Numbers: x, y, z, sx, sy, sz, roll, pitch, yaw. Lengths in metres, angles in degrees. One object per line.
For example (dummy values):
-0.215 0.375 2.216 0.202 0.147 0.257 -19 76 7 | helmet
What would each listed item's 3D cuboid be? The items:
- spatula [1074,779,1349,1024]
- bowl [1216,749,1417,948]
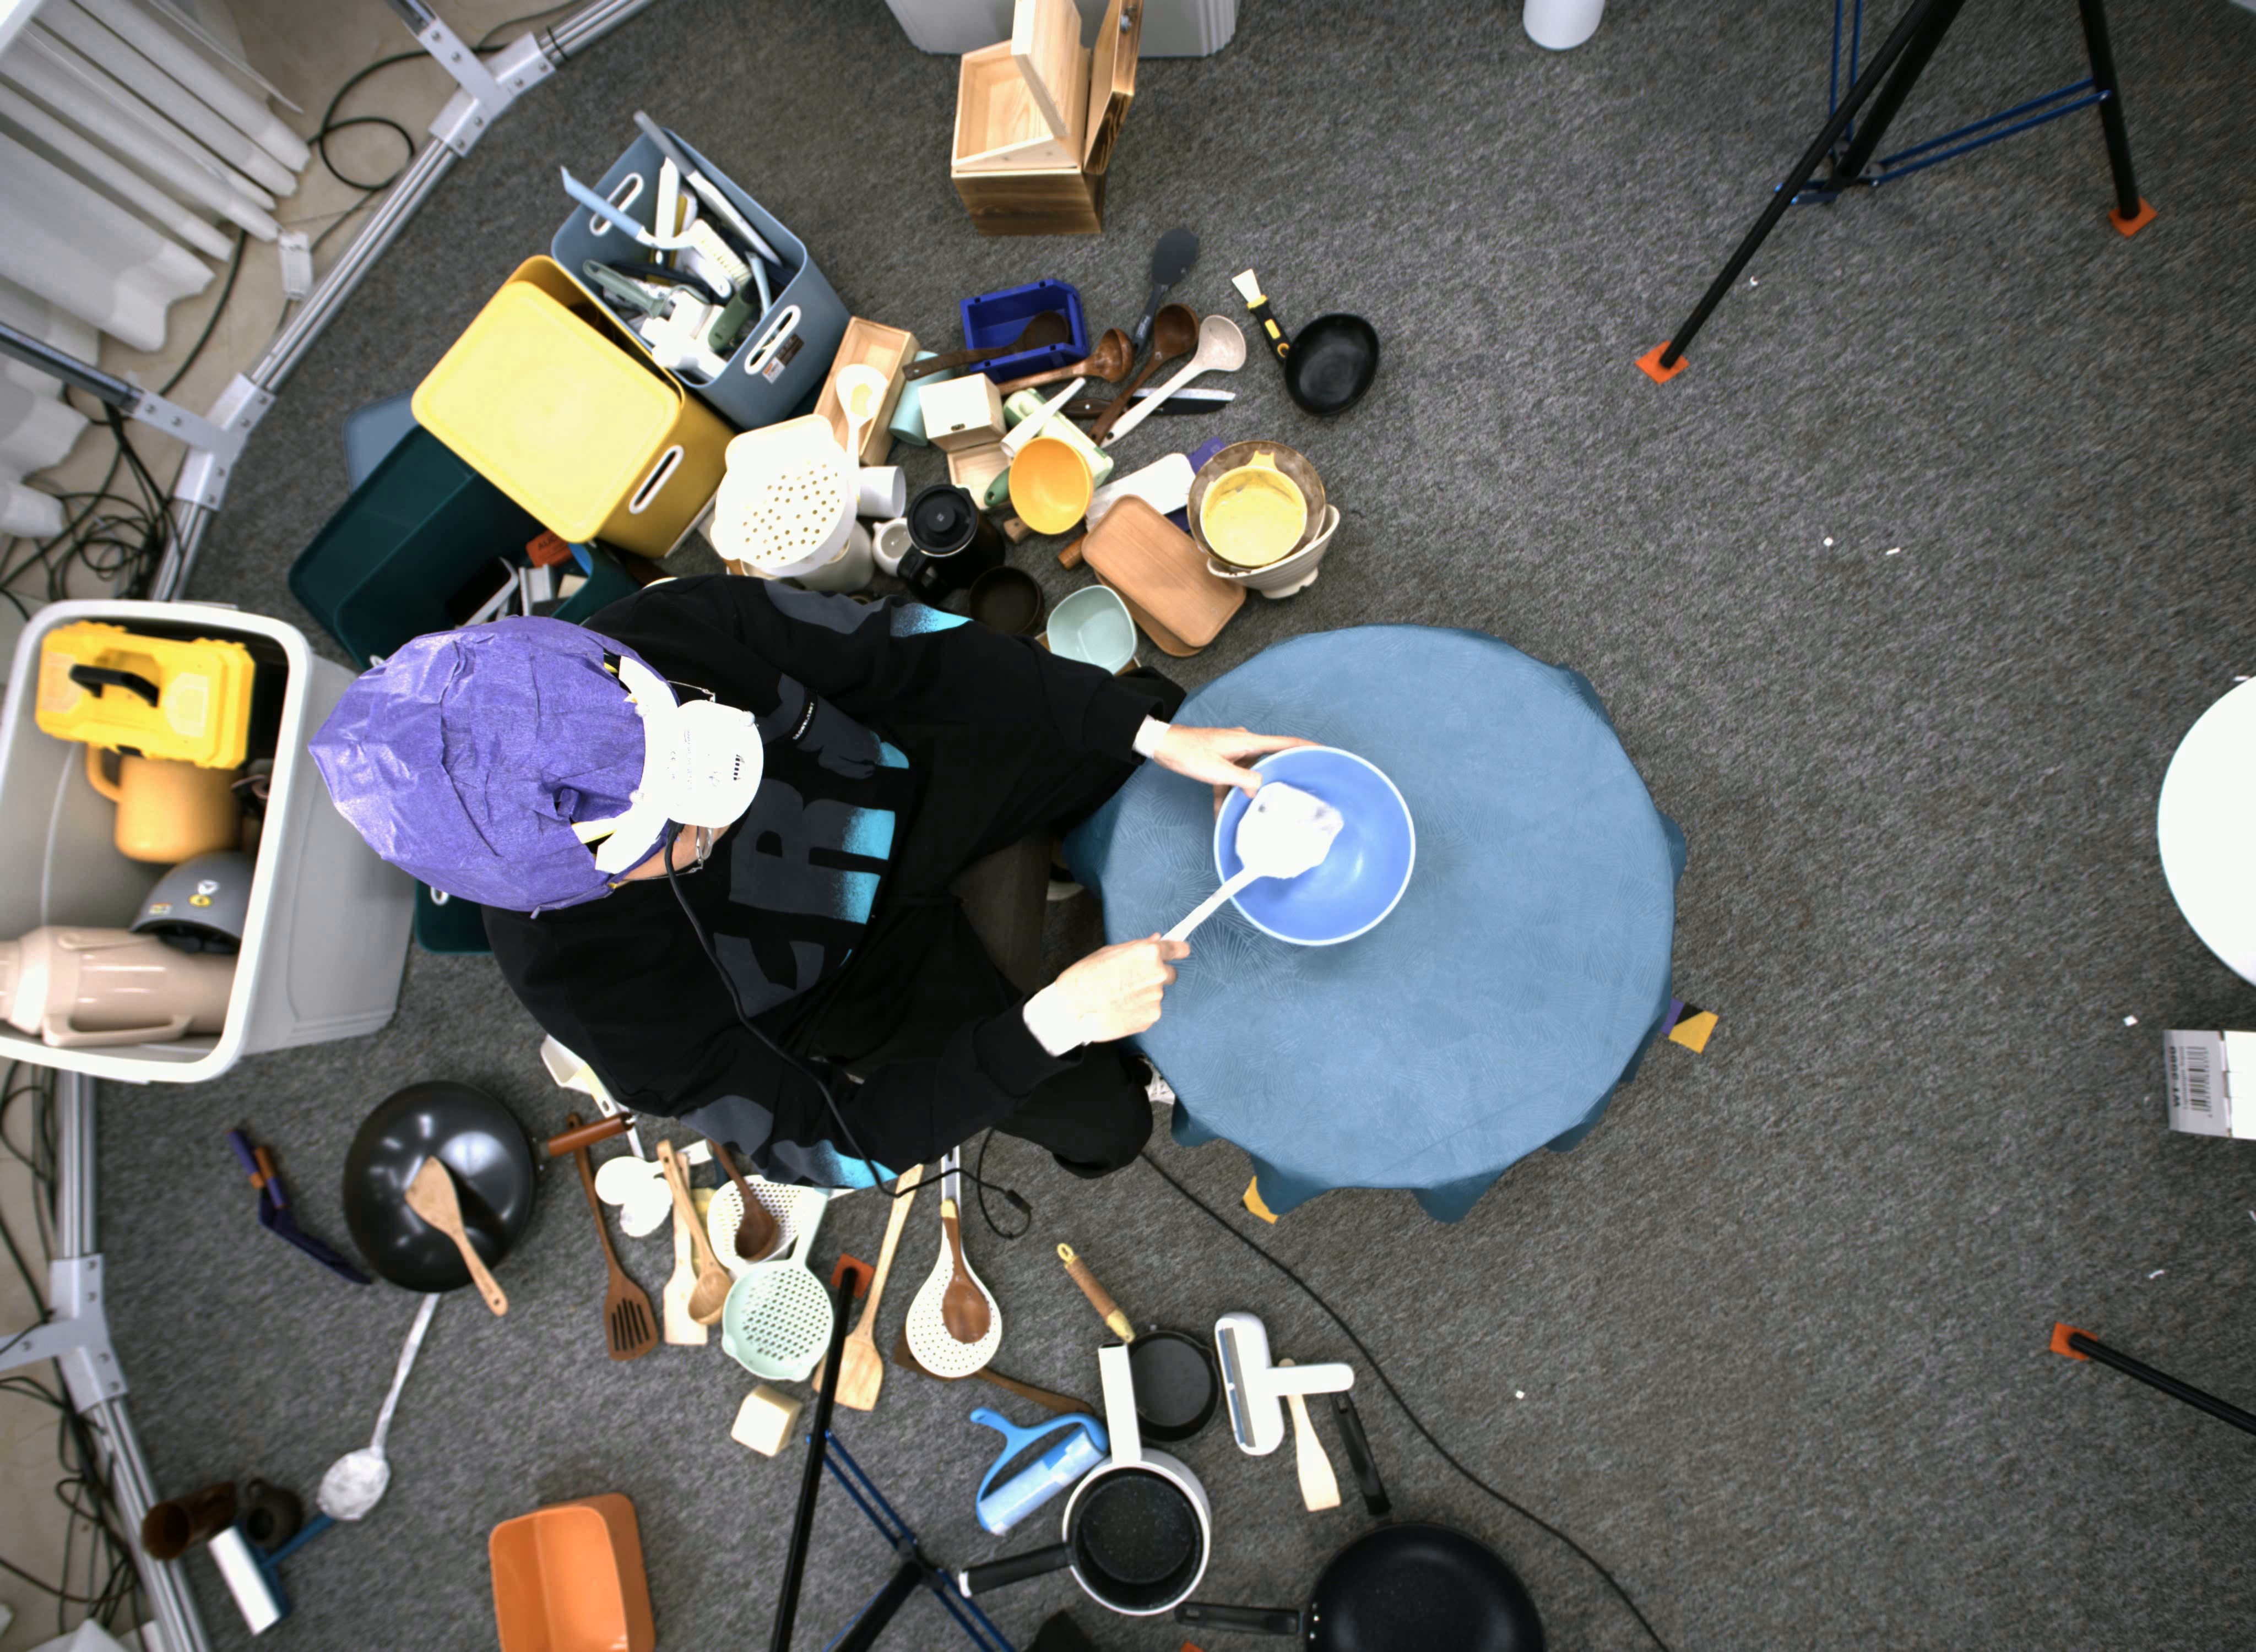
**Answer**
0.077 0.072 1.315 0.098 0.046 0.357 31 51 27 | spatula
0.190 0.026 1.399 0.197 0.095 0.195 -1 86 8 | bowl
